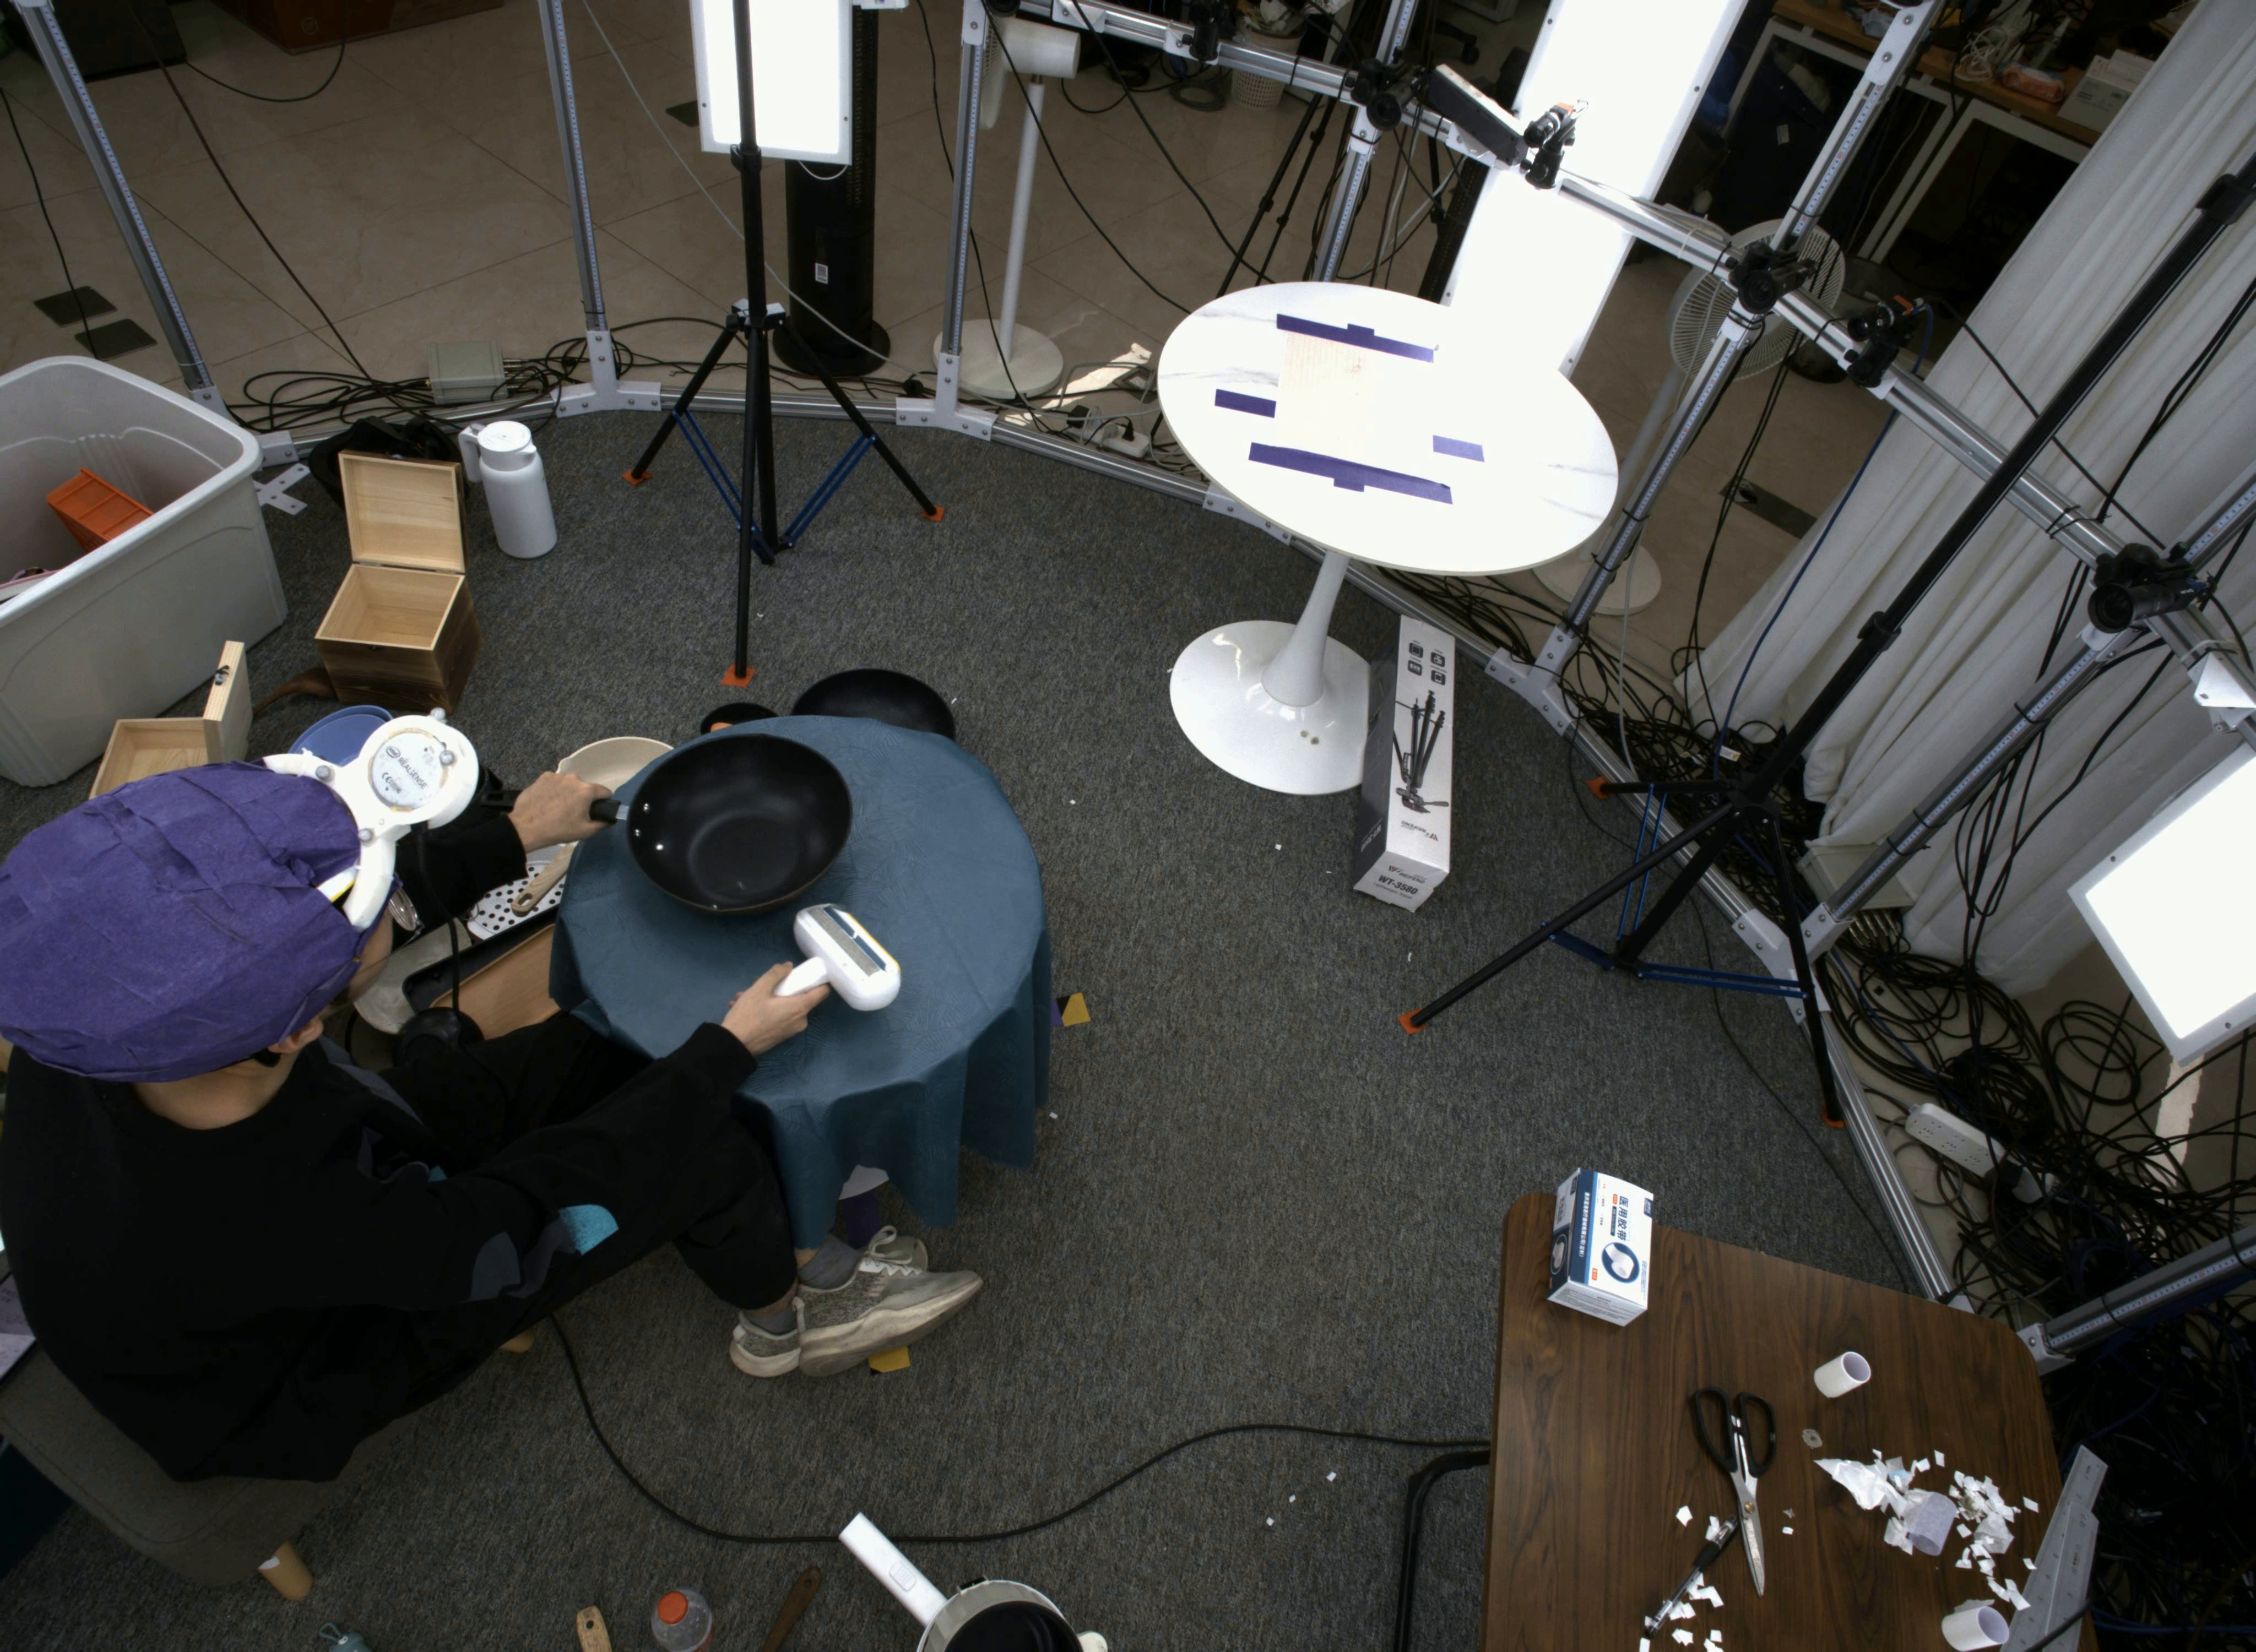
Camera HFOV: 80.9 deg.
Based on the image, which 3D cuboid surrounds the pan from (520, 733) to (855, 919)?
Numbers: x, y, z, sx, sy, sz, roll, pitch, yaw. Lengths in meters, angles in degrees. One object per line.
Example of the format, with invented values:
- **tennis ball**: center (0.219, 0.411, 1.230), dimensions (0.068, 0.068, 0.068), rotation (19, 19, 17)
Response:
- **pan**: center (-0.576, 0.005, 1.634), dimensions (0.461, 0.089, 0.283), rotation (4, 52, -7)

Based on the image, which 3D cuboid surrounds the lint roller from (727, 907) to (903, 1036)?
- **lint roller**: center (-0.383, 0.182, 1.532), dimensions (0.193, 0.076, 0.185), rotation (-21, 43, -28)
